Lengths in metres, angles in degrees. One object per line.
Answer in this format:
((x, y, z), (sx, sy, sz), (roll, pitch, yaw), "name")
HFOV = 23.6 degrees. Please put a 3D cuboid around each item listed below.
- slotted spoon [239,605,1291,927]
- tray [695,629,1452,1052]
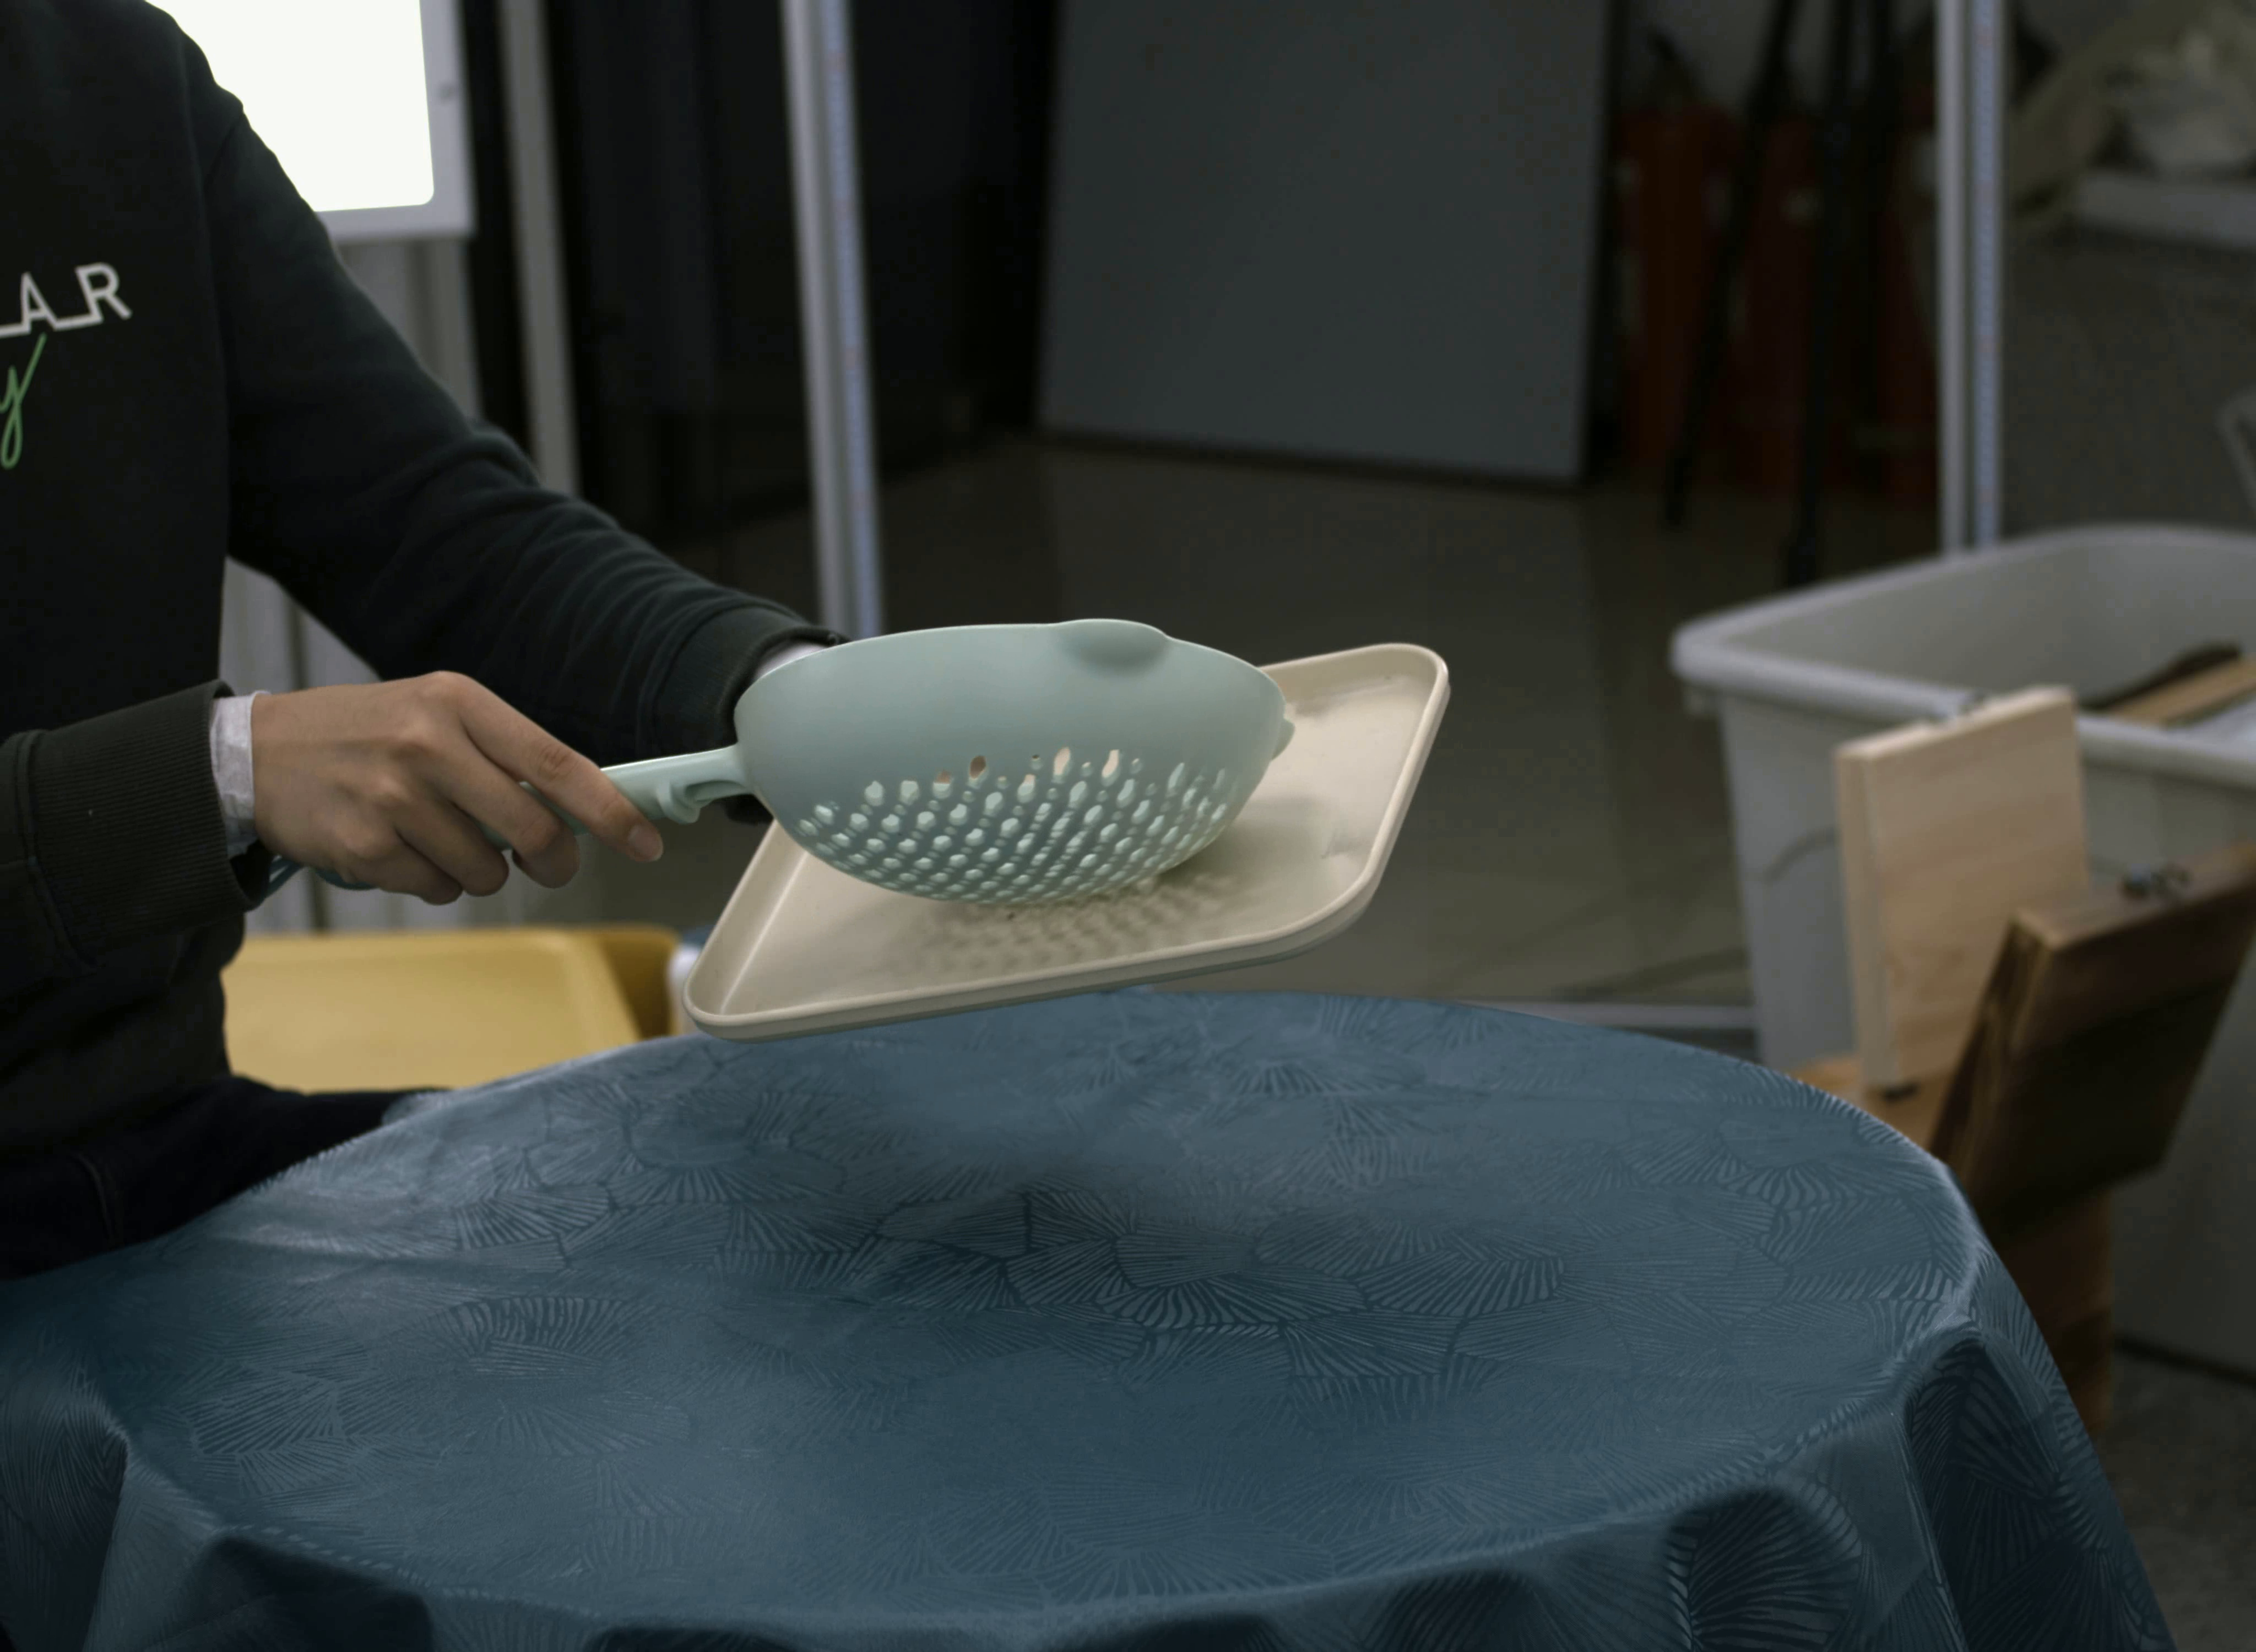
((-0.124, -0.009, 1.692), (0.359, 0.076, 0.167), (-2, -16, 26), "slotted spoon")
((-0.015, 0.006, 1.711), (0.240, 0.017, 0.171), (-12, 29, 24), "tray")
